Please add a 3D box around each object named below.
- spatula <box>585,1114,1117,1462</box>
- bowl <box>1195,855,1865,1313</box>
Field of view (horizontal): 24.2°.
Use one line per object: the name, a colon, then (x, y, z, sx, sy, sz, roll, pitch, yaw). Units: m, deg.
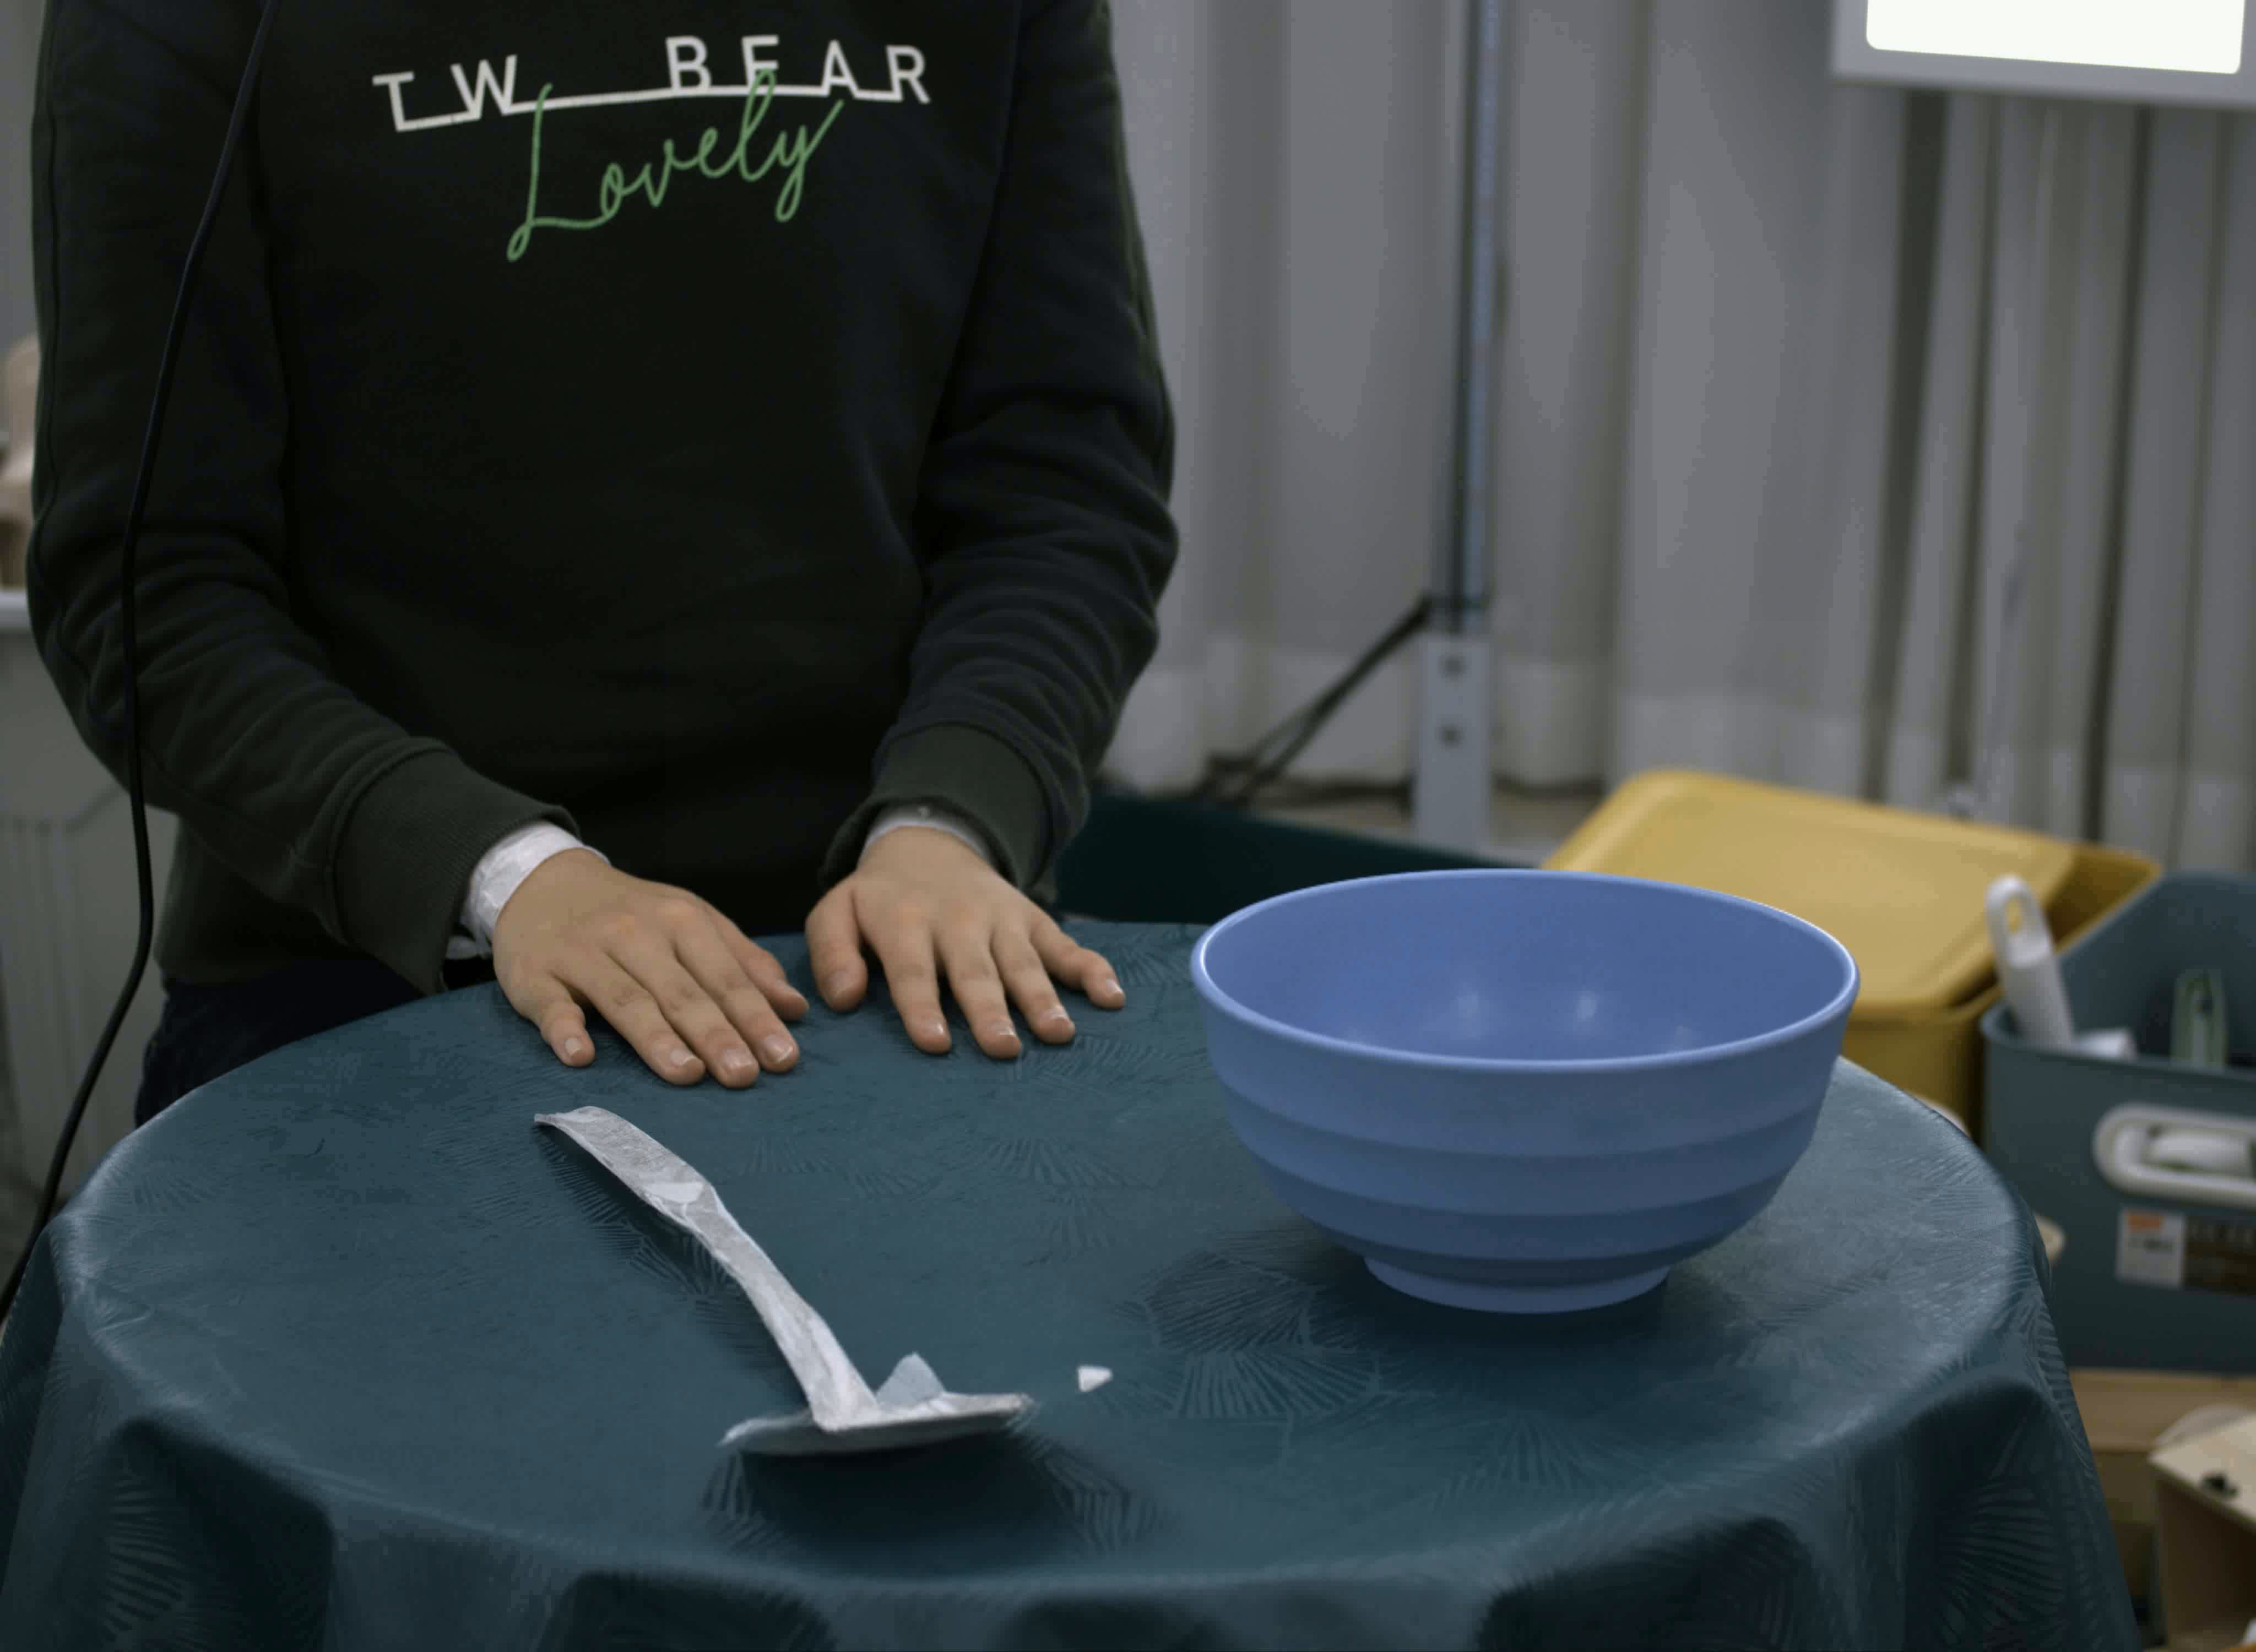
spatula: (-0.105, 0.123, 1.514, 0.099, 0.045, 0.360, -8, 18, -20)
bowl: (0.116, 0.083, 1.556, 0.196, 0.096, 0.195, 2, 18, 0)
